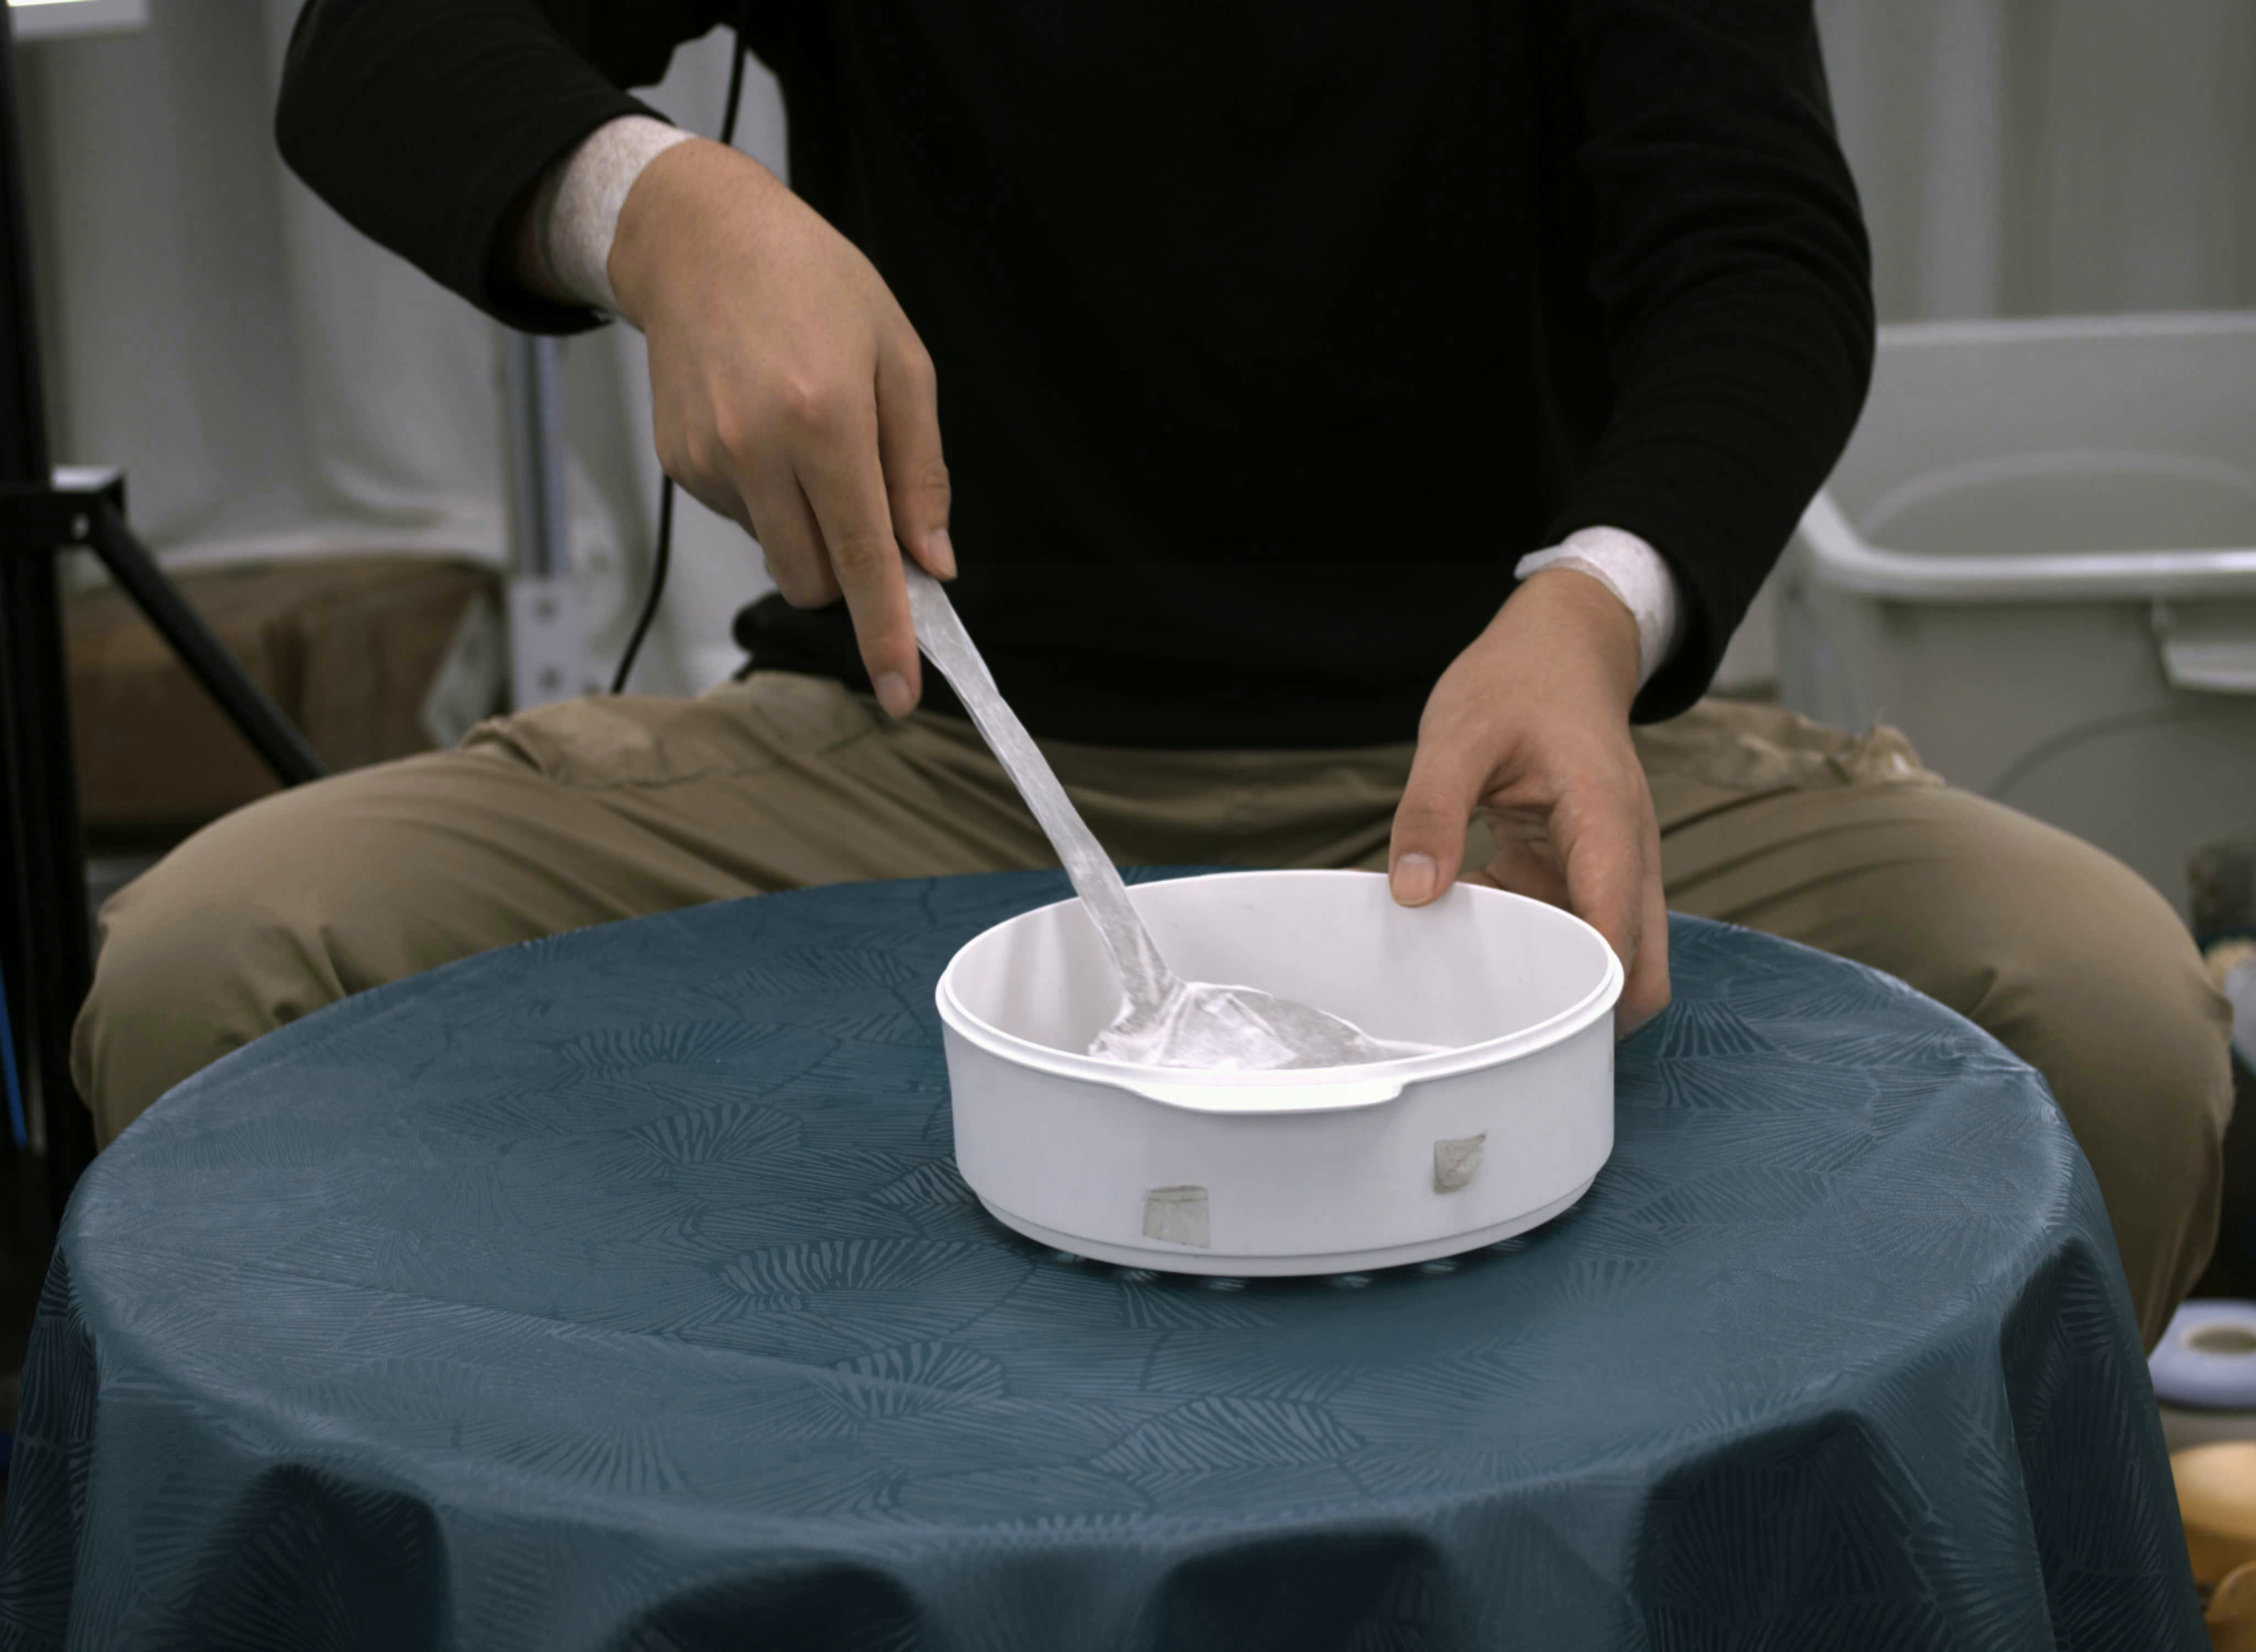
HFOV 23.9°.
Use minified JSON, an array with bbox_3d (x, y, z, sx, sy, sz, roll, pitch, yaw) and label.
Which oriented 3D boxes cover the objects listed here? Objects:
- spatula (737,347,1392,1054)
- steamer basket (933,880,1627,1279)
[{"bbox_3d":[-0.029,-0.023,1.613,0.097,0.045,0.371,-19,61,-29],"label":"spatula"},{"bbox_3d":[0.044,0.073,1.545,0.201,0.069,0.231,0,15,3],"label":"steamer basket"}]
